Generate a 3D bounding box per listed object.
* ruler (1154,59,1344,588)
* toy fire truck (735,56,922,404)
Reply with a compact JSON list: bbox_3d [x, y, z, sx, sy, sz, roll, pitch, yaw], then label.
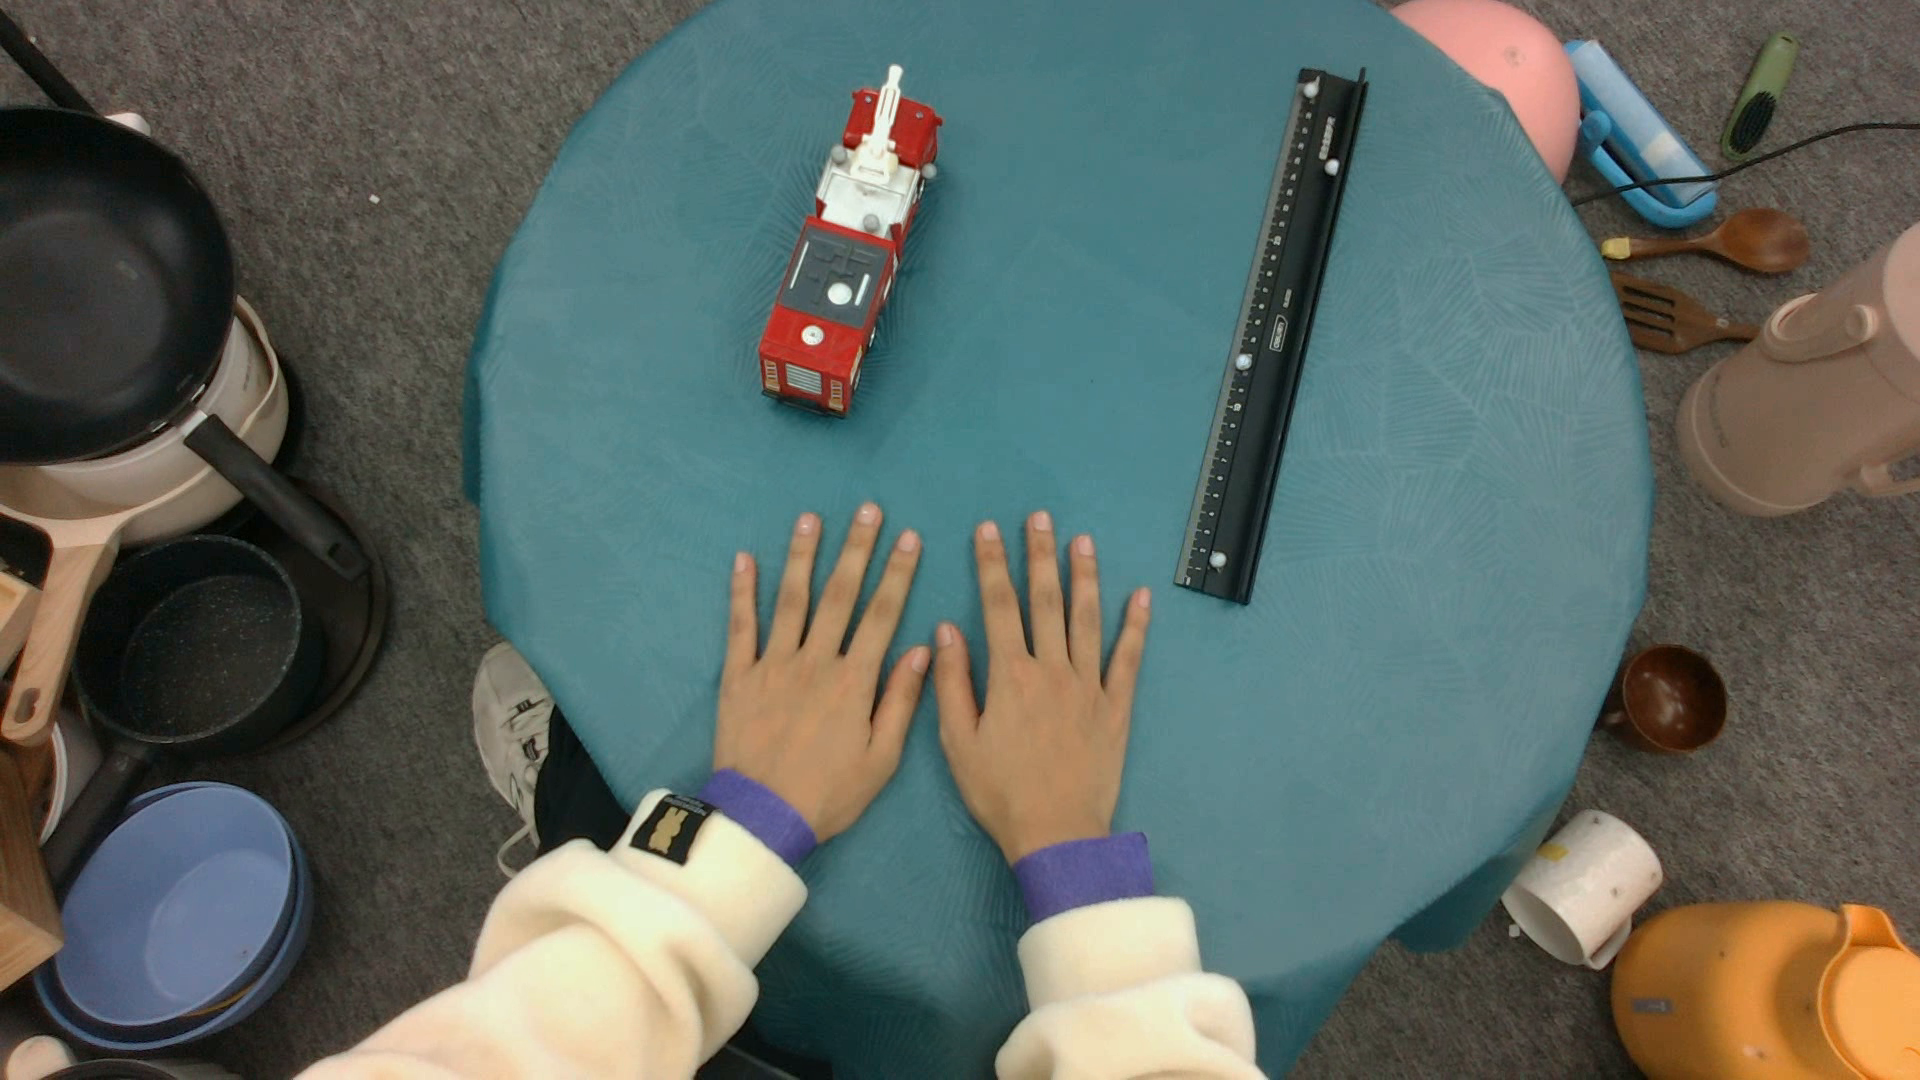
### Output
[{"bbox_3d":[0.156,-0.126,0.720,0.039,0.017,0.313,16,72,4],"label":"ruler"},{"bbox_3d":[-0.065,-0.153,0.686,0.054,0.070,0.168,17,74,0],"label":"toy fire truck"}]
